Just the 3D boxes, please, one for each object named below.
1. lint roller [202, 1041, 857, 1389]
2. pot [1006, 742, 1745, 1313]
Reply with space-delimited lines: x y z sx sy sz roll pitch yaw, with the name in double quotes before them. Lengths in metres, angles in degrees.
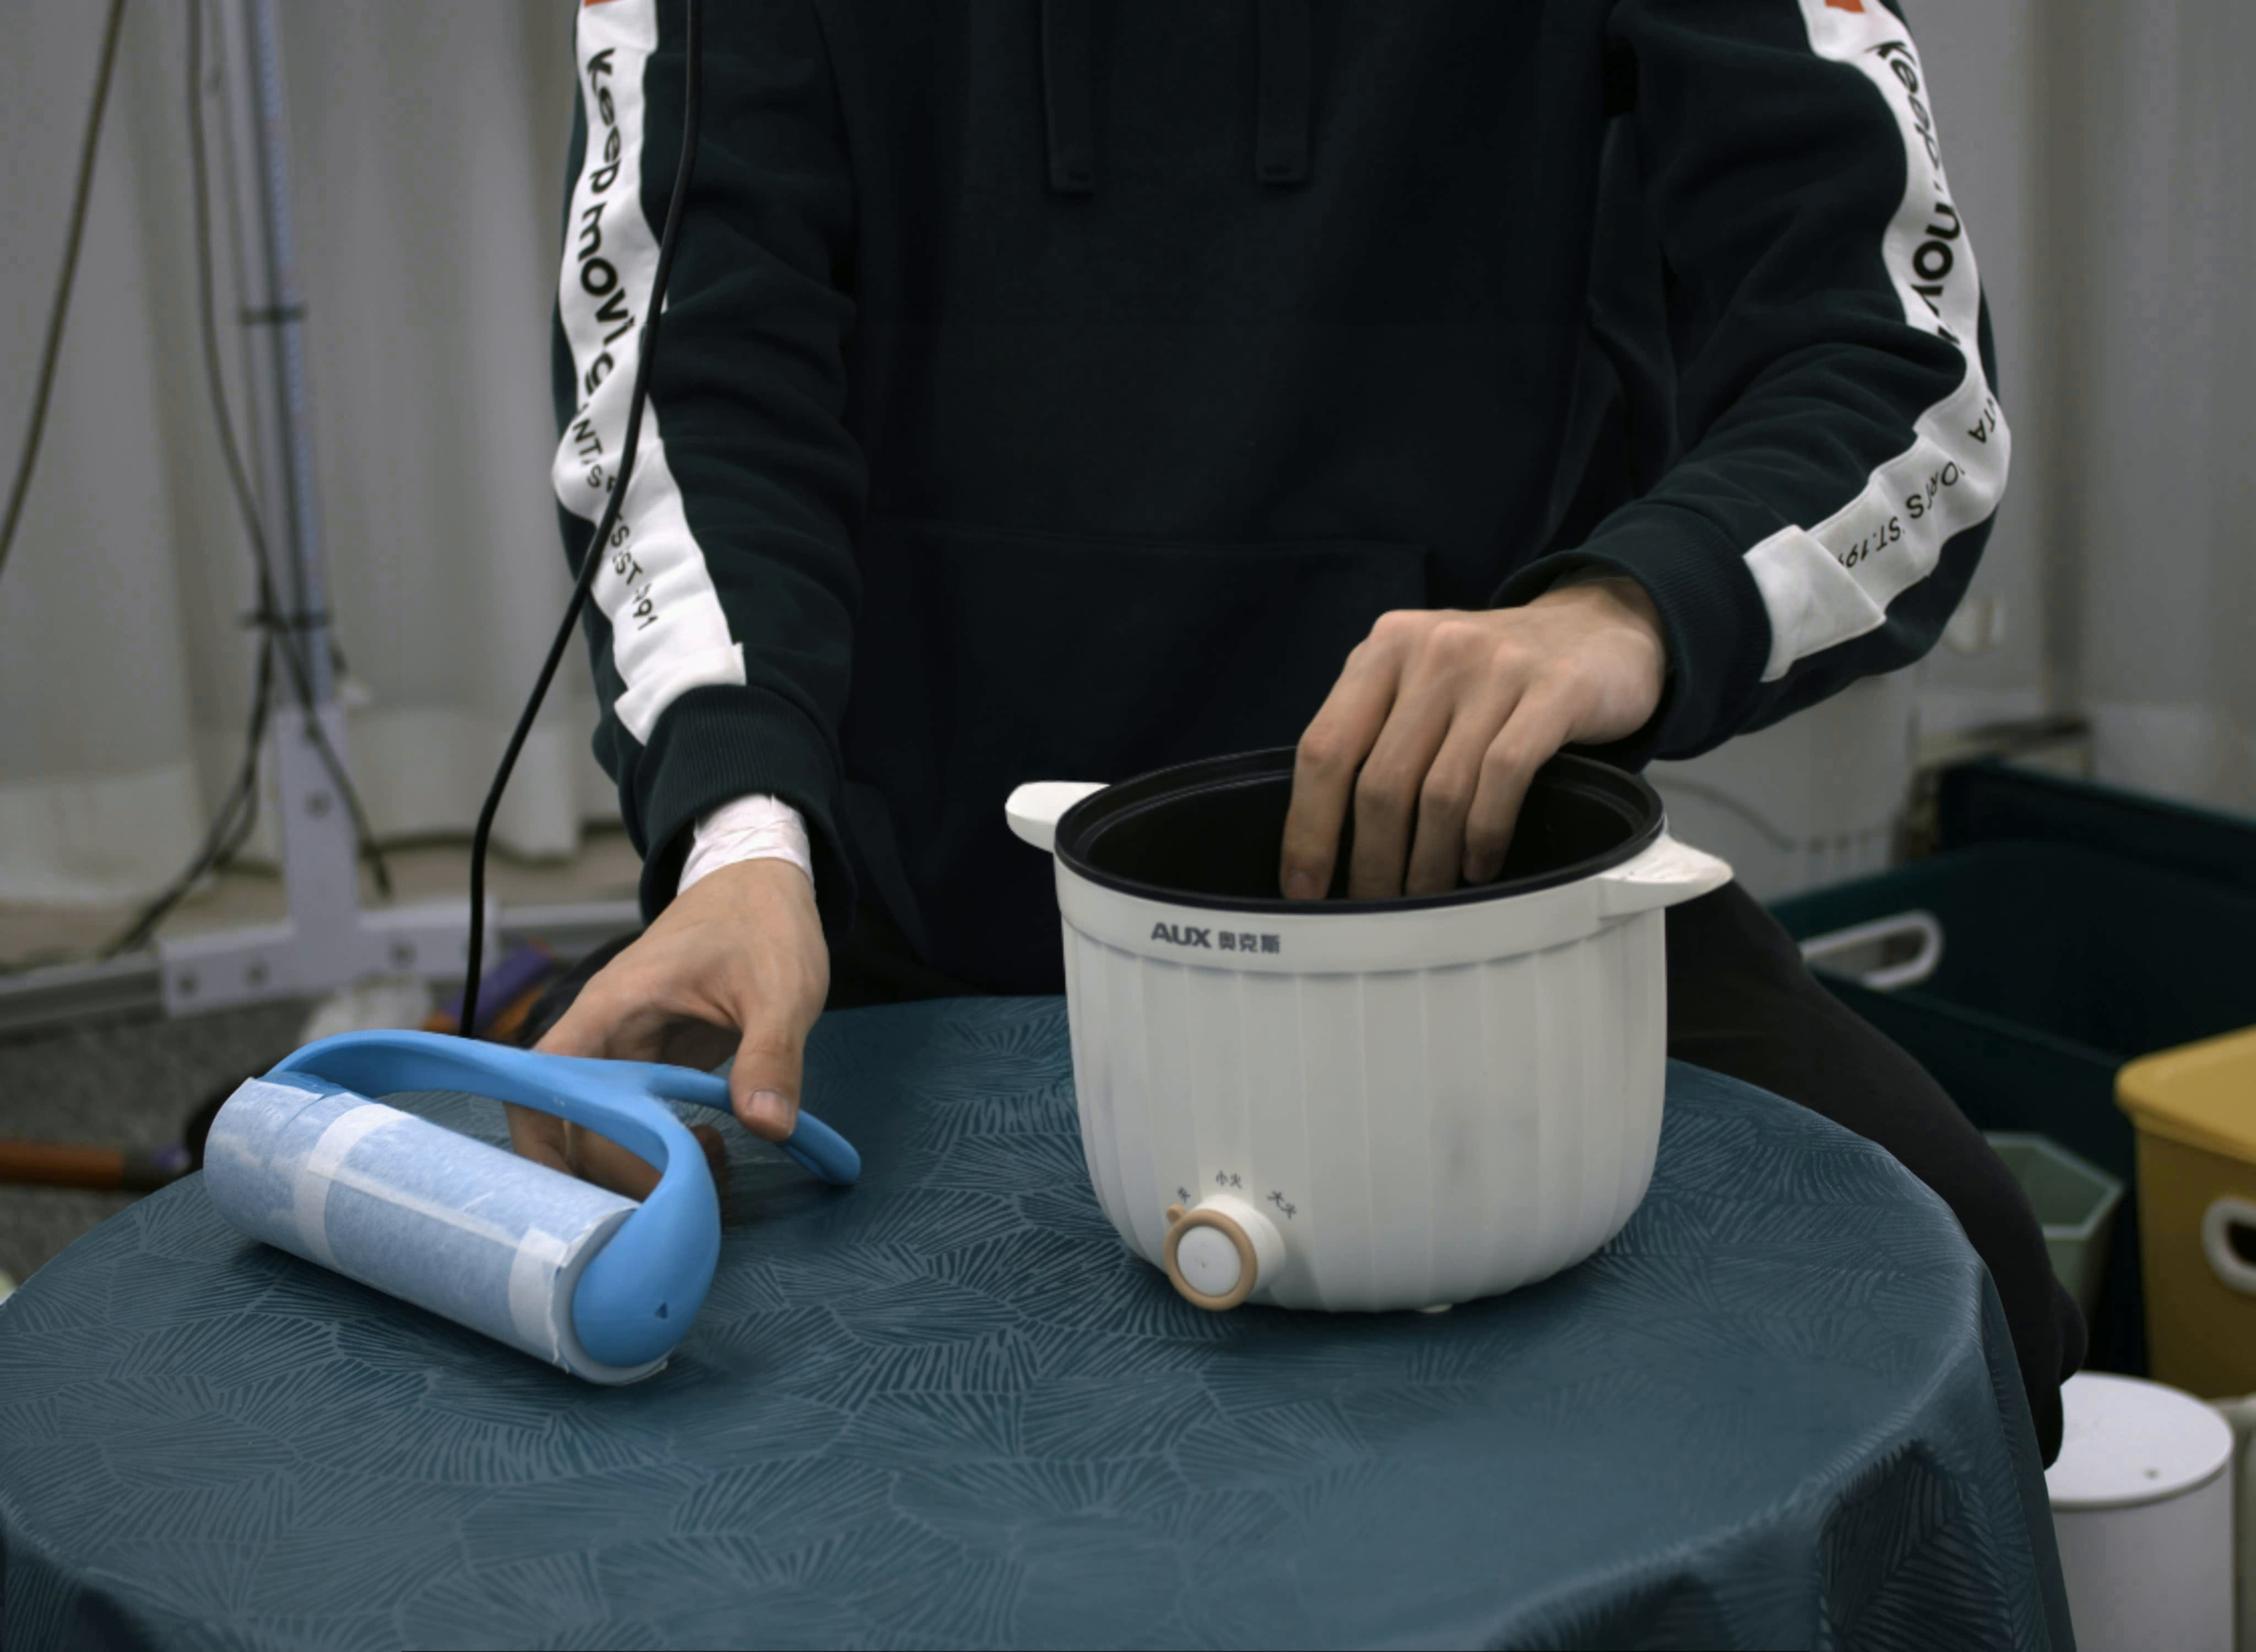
"lint roller" -0.161 0.105 1.674 0.180 0.067 0.230 -19 19 -39
"pot" 0.071 0.063 1.627 0.241 0.142 0.190 4 13 30
